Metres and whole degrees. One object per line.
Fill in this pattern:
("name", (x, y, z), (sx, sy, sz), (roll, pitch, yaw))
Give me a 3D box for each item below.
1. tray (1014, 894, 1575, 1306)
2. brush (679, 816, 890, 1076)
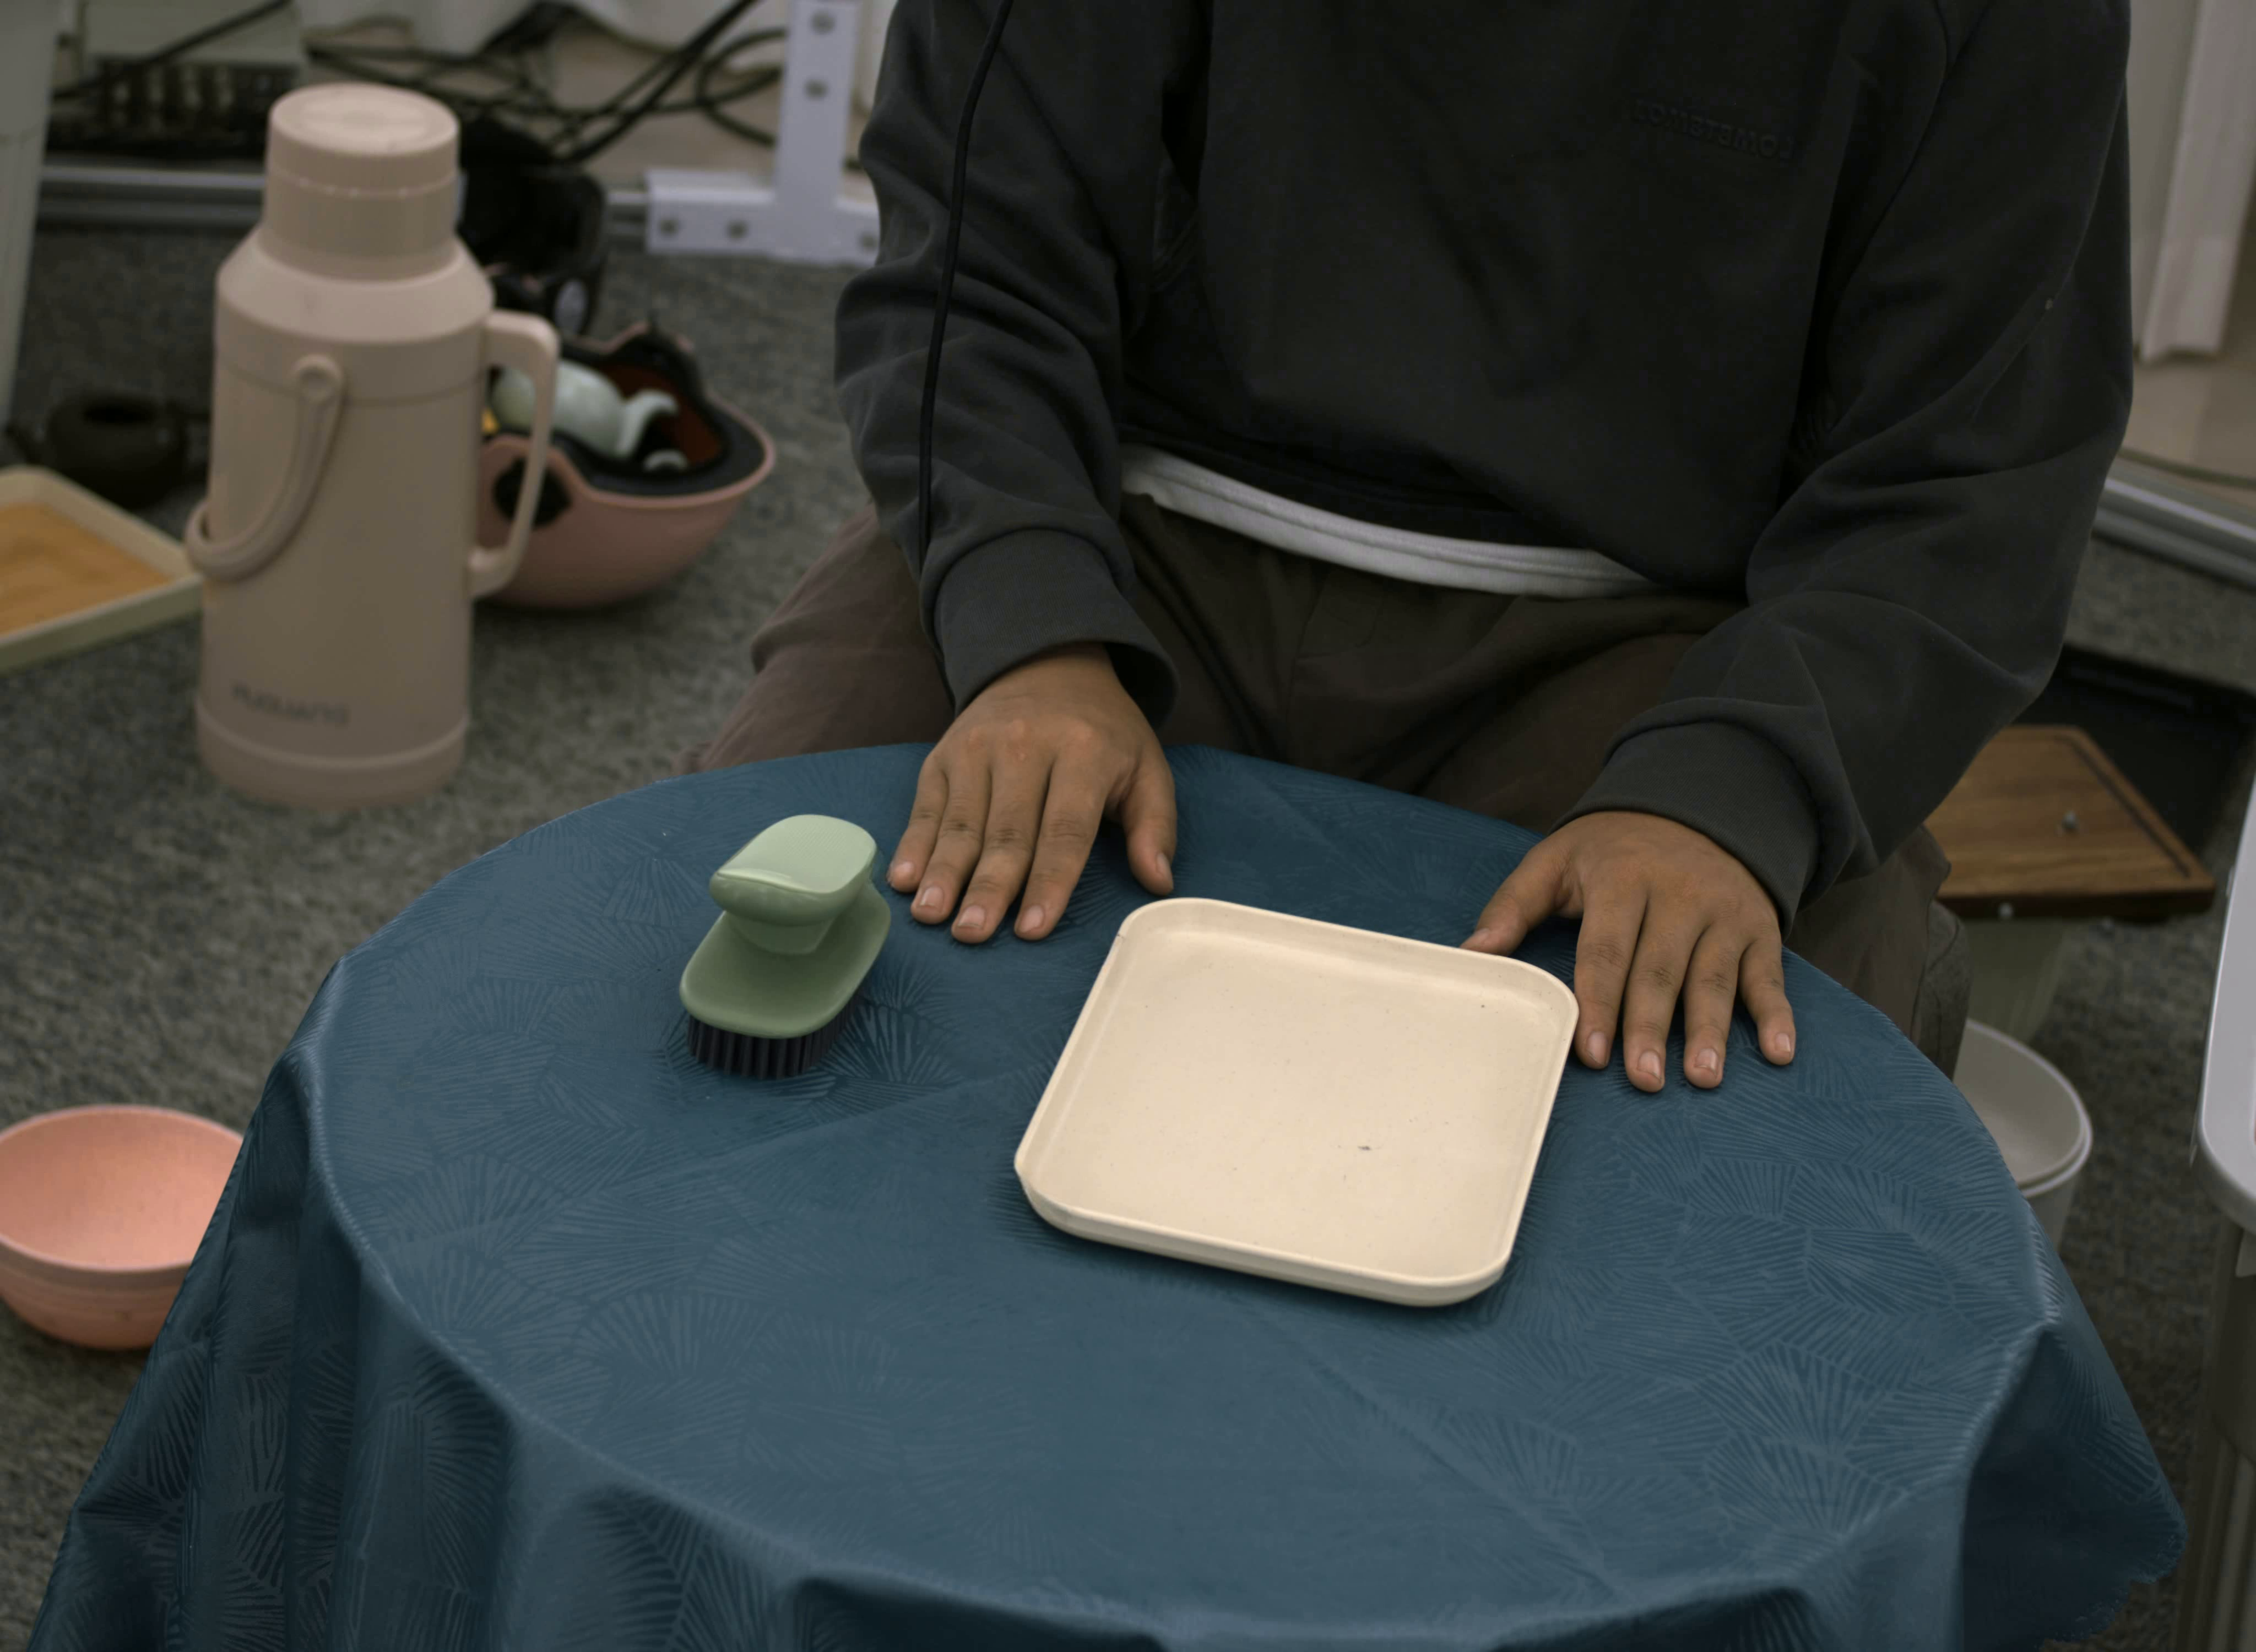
("tray", (0.061, 0.094, 1.859), (0.171, 0.017, 0.240), (12, 27, 8))
("brush", (-0.121, 0.041, 1.883), (0.059, 0.076, 0.123), (12, 13, 8))
